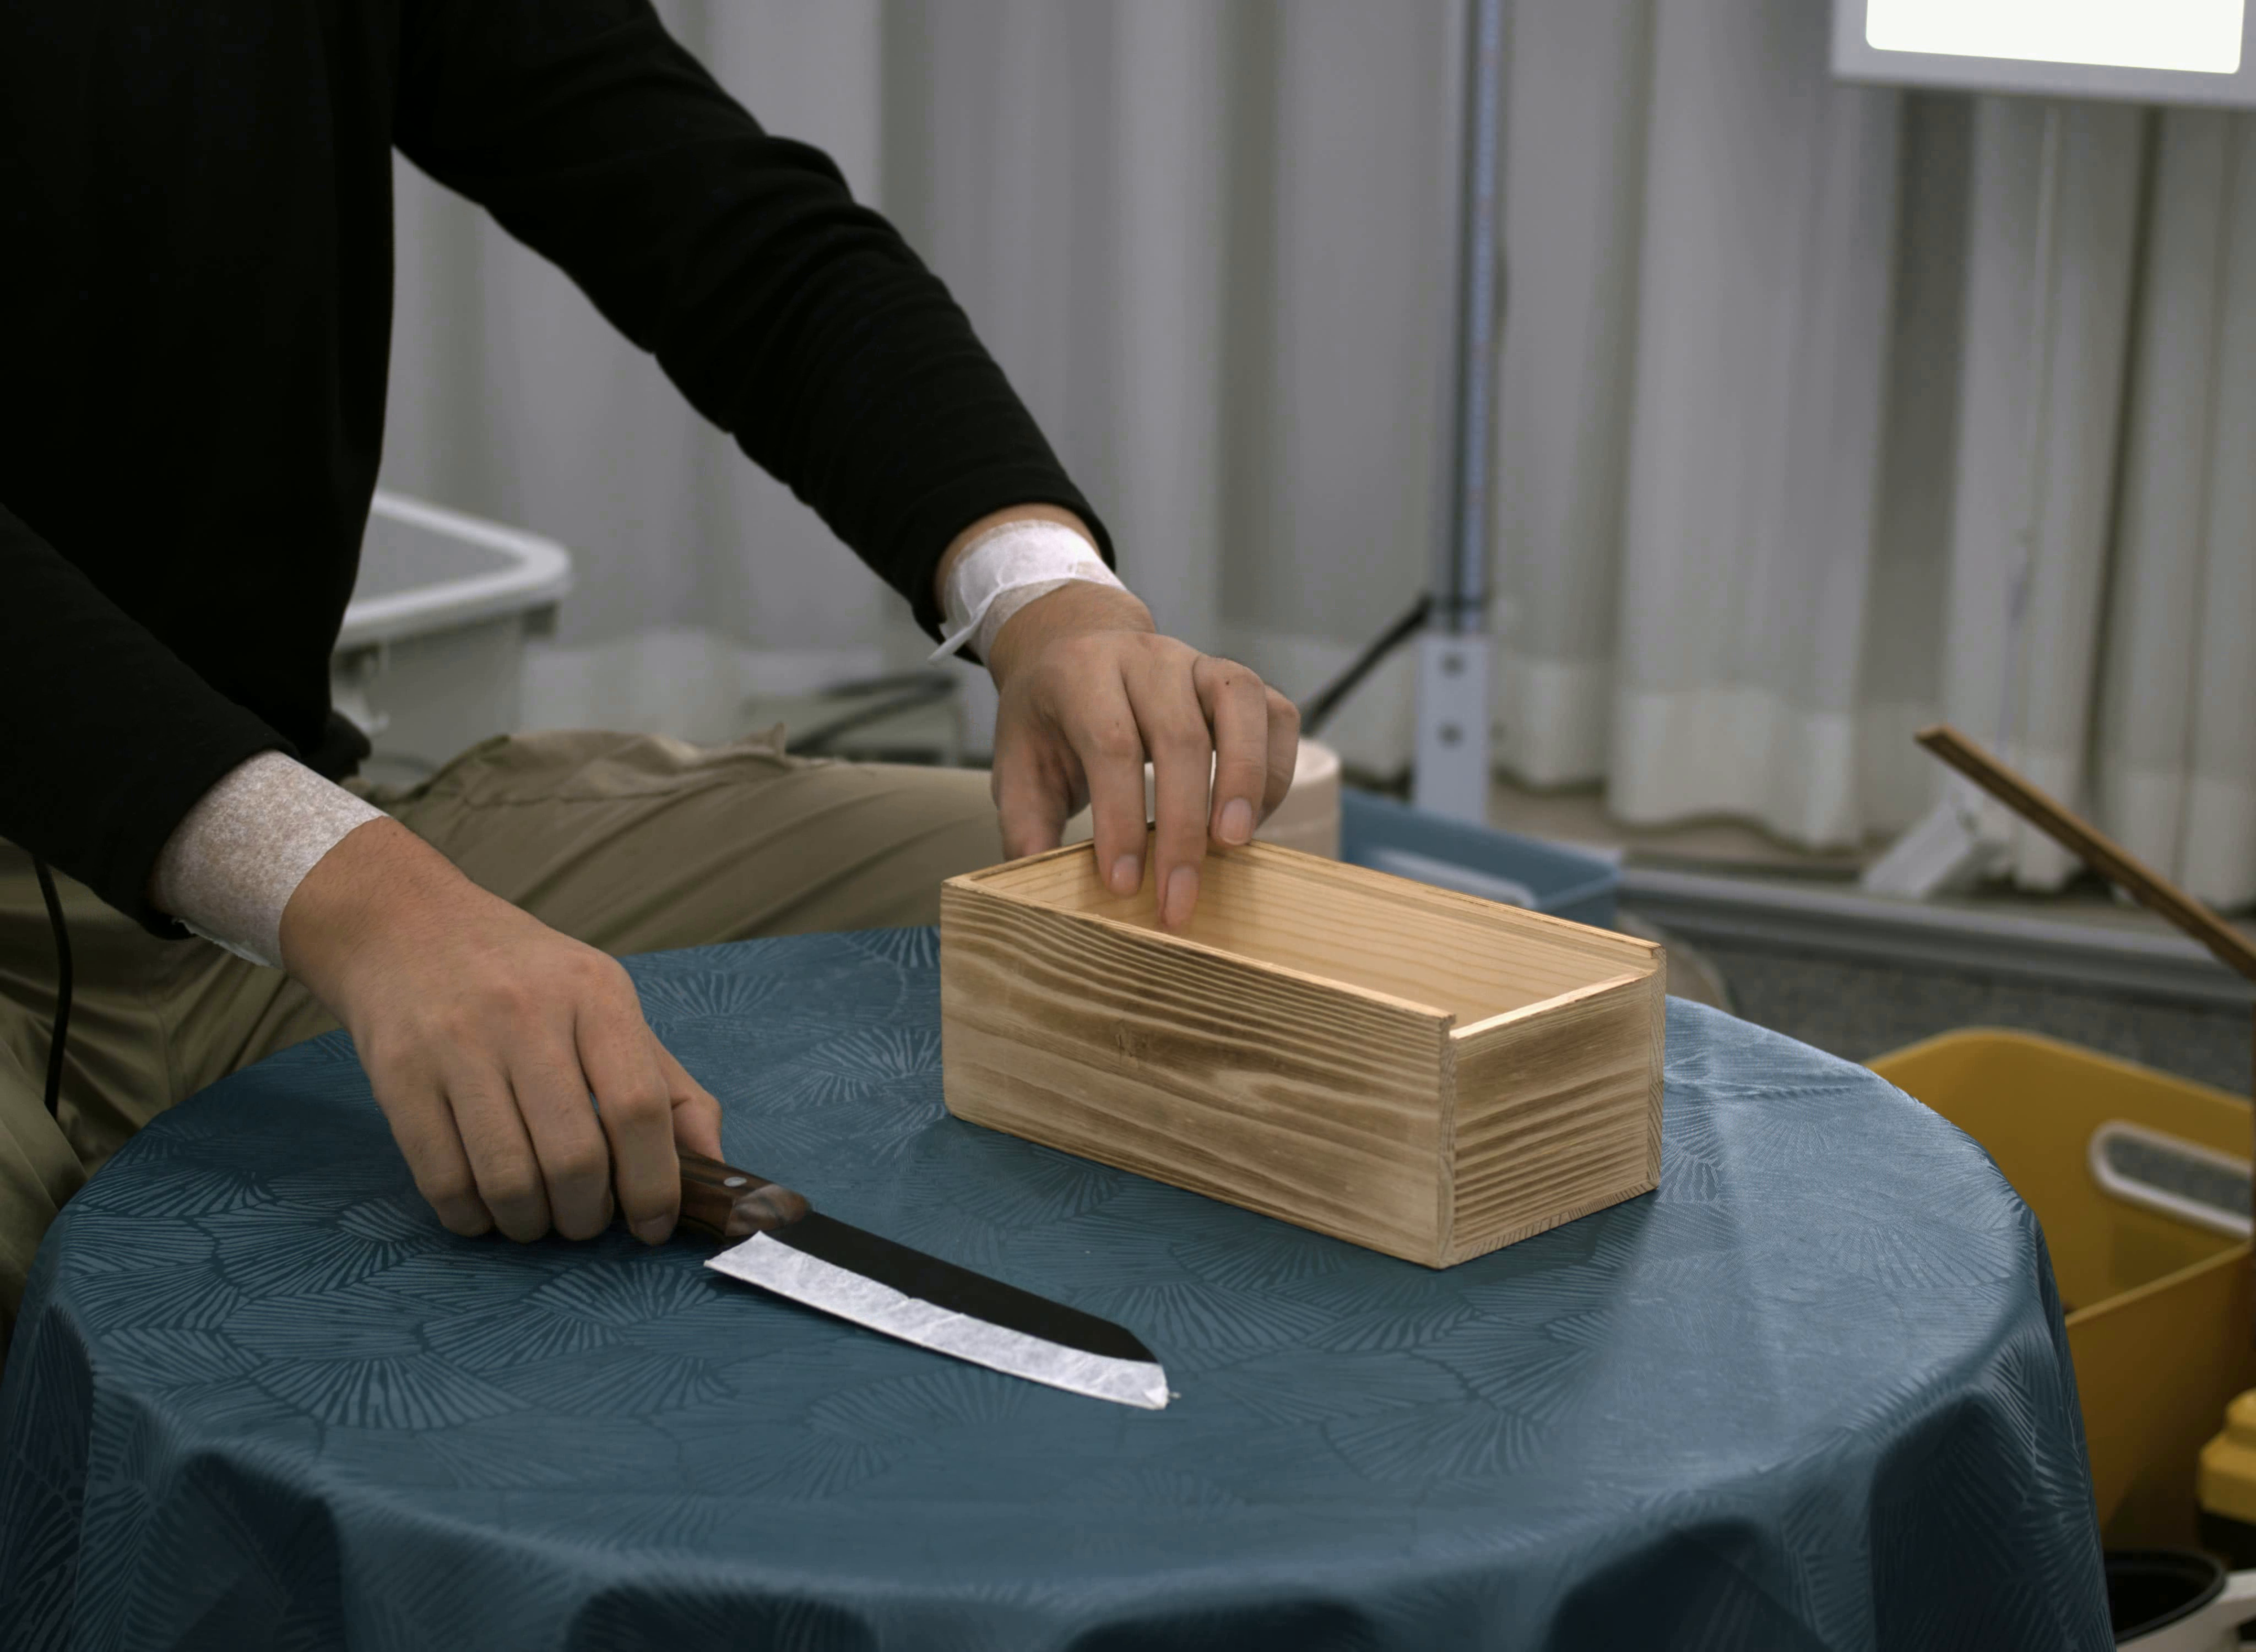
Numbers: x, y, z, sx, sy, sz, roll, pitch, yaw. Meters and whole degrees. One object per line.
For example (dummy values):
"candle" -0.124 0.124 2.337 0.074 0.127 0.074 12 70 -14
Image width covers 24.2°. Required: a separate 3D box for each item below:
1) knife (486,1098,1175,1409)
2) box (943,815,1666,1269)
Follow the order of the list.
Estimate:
"knife" -0.091 0.126 1.542 0.285 0.020 0.050 18 31 40
"box" 0.052 0.064 1.648 0.208 0.081 0.108 15 21 41
